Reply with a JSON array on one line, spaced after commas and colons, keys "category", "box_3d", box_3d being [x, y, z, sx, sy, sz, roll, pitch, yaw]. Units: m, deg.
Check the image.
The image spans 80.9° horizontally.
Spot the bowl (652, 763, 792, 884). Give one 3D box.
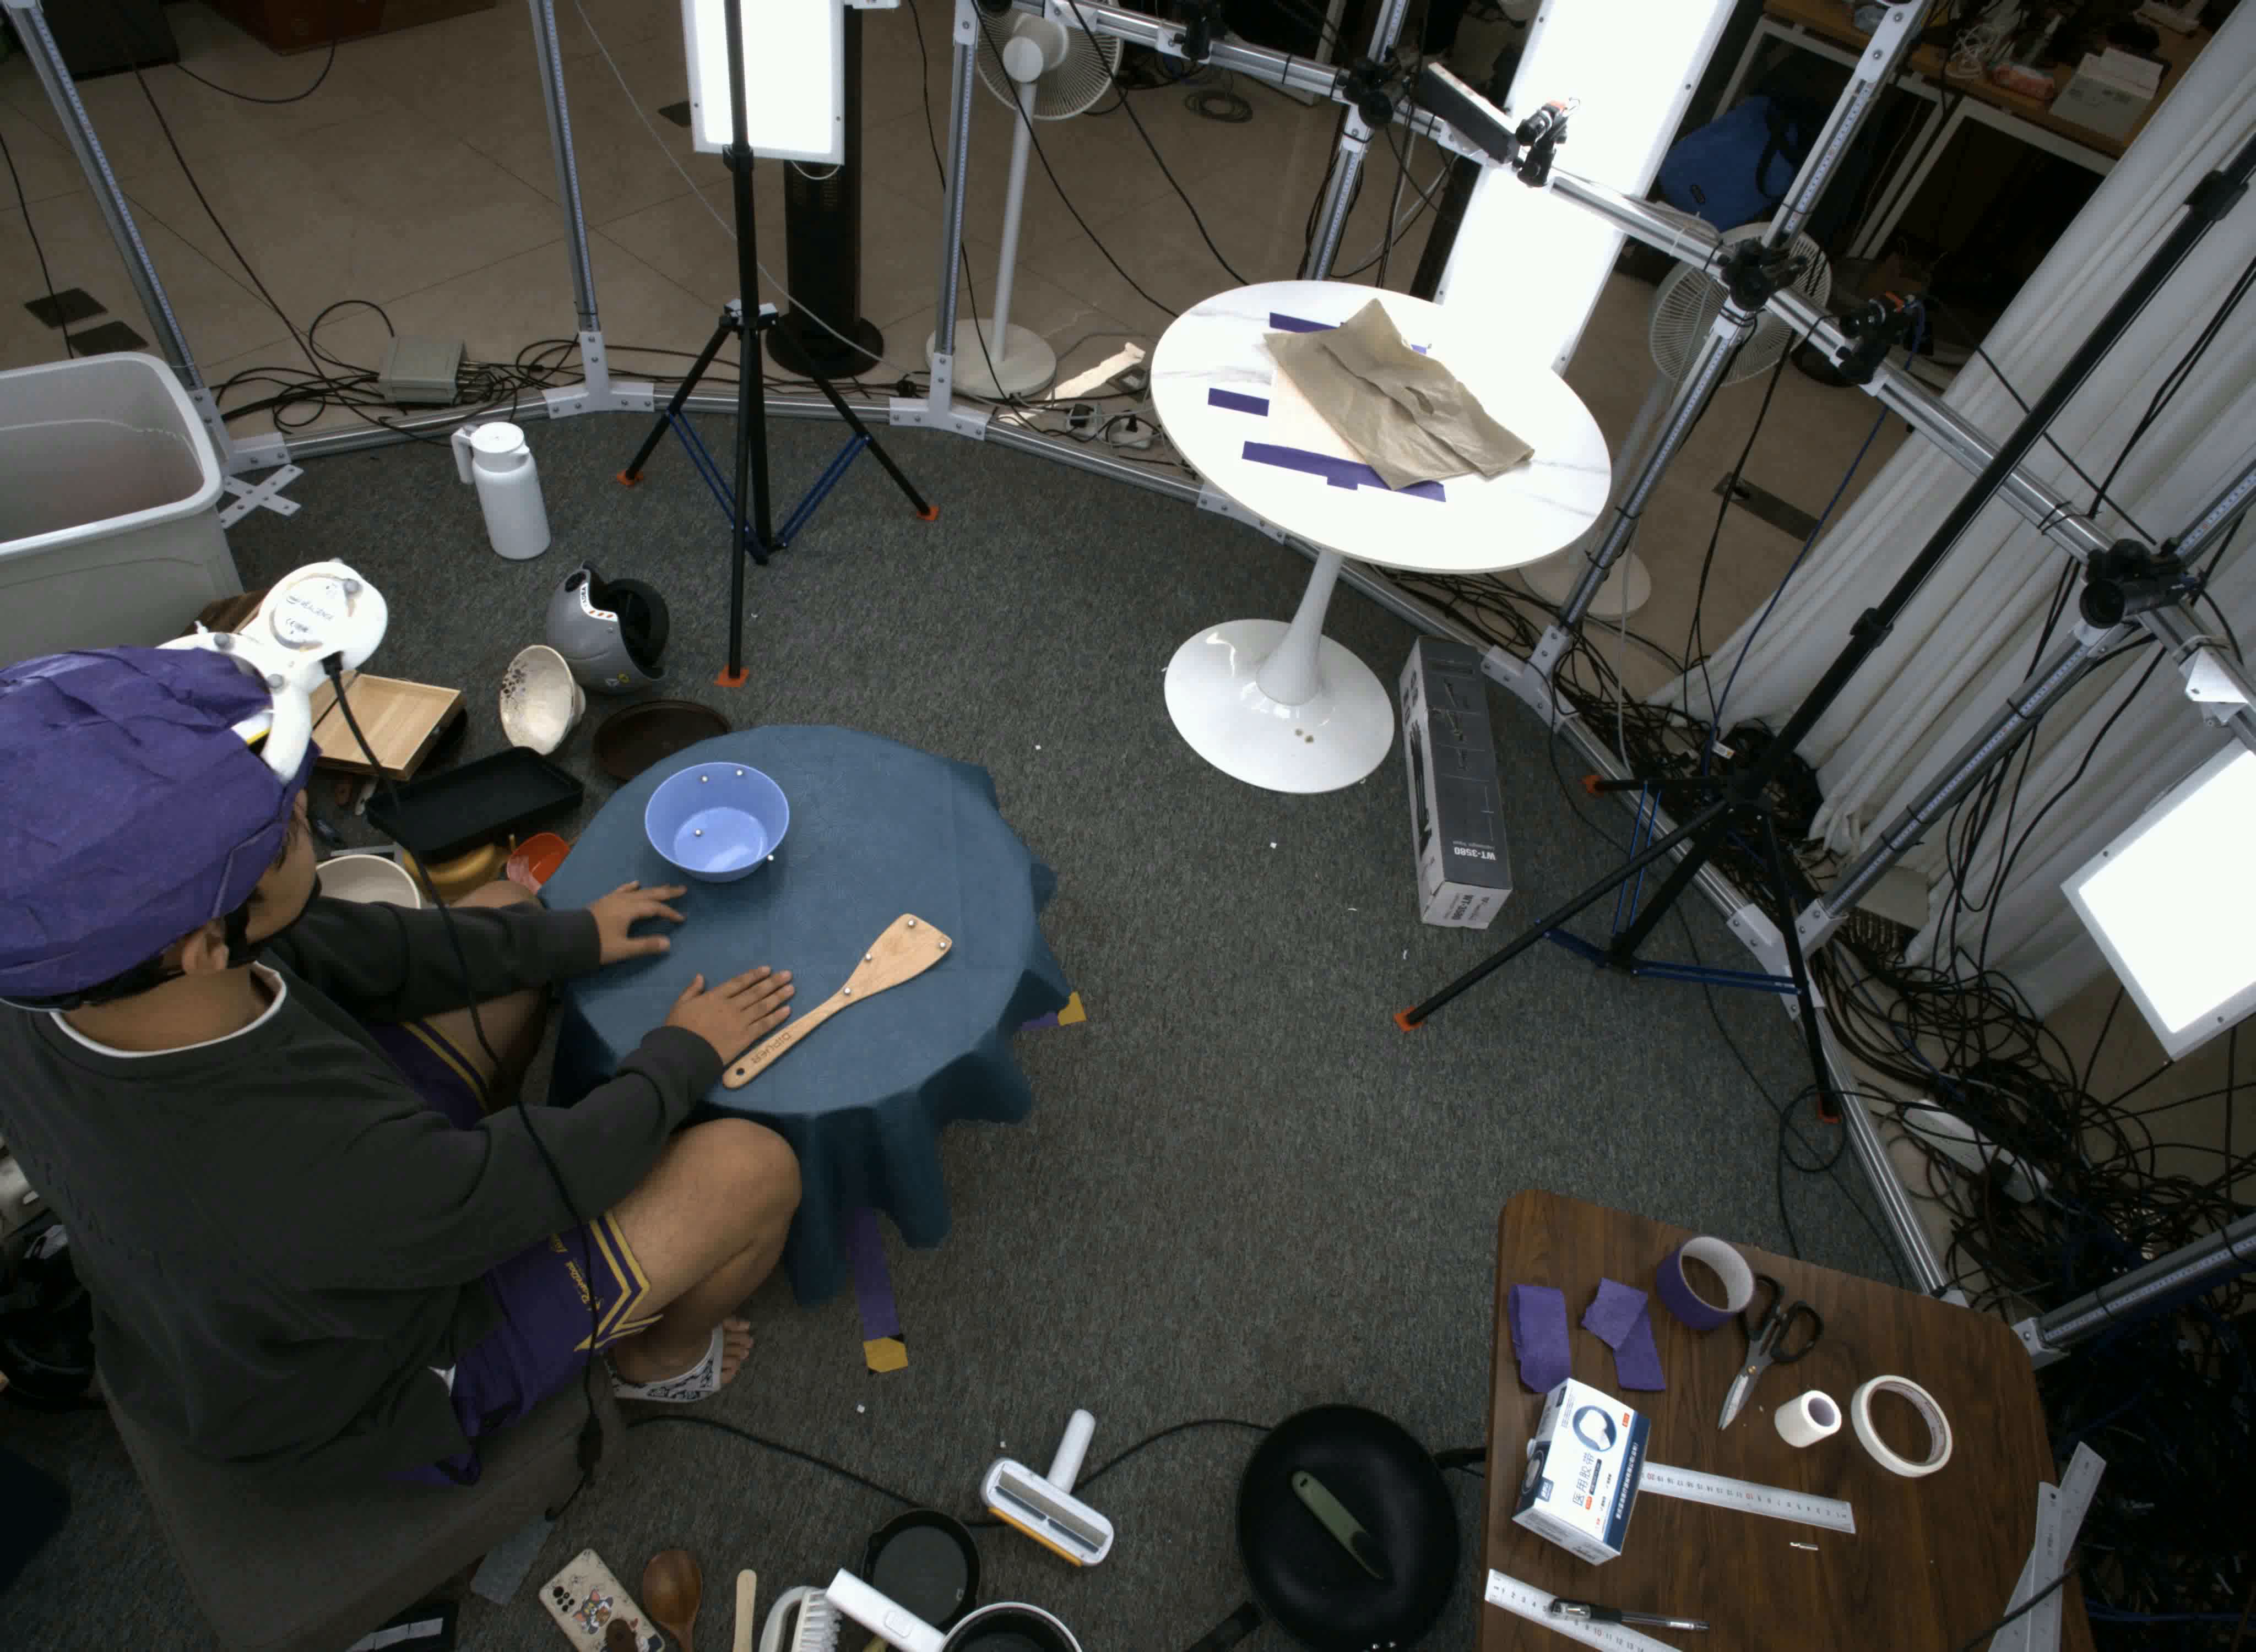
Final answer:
[{"category": "bowl", "box_3d": [-0.518, 0.006, 1.655, 0.176, 0.072, 0.173, 8, 52, -8]}]

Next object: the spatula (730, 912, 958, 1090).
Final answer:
[{"category": "spatula", "box_3d": [-0.350, 0.210, 1.581, 0.078, 0.017, 0.328, 41, 55, 16]}]
